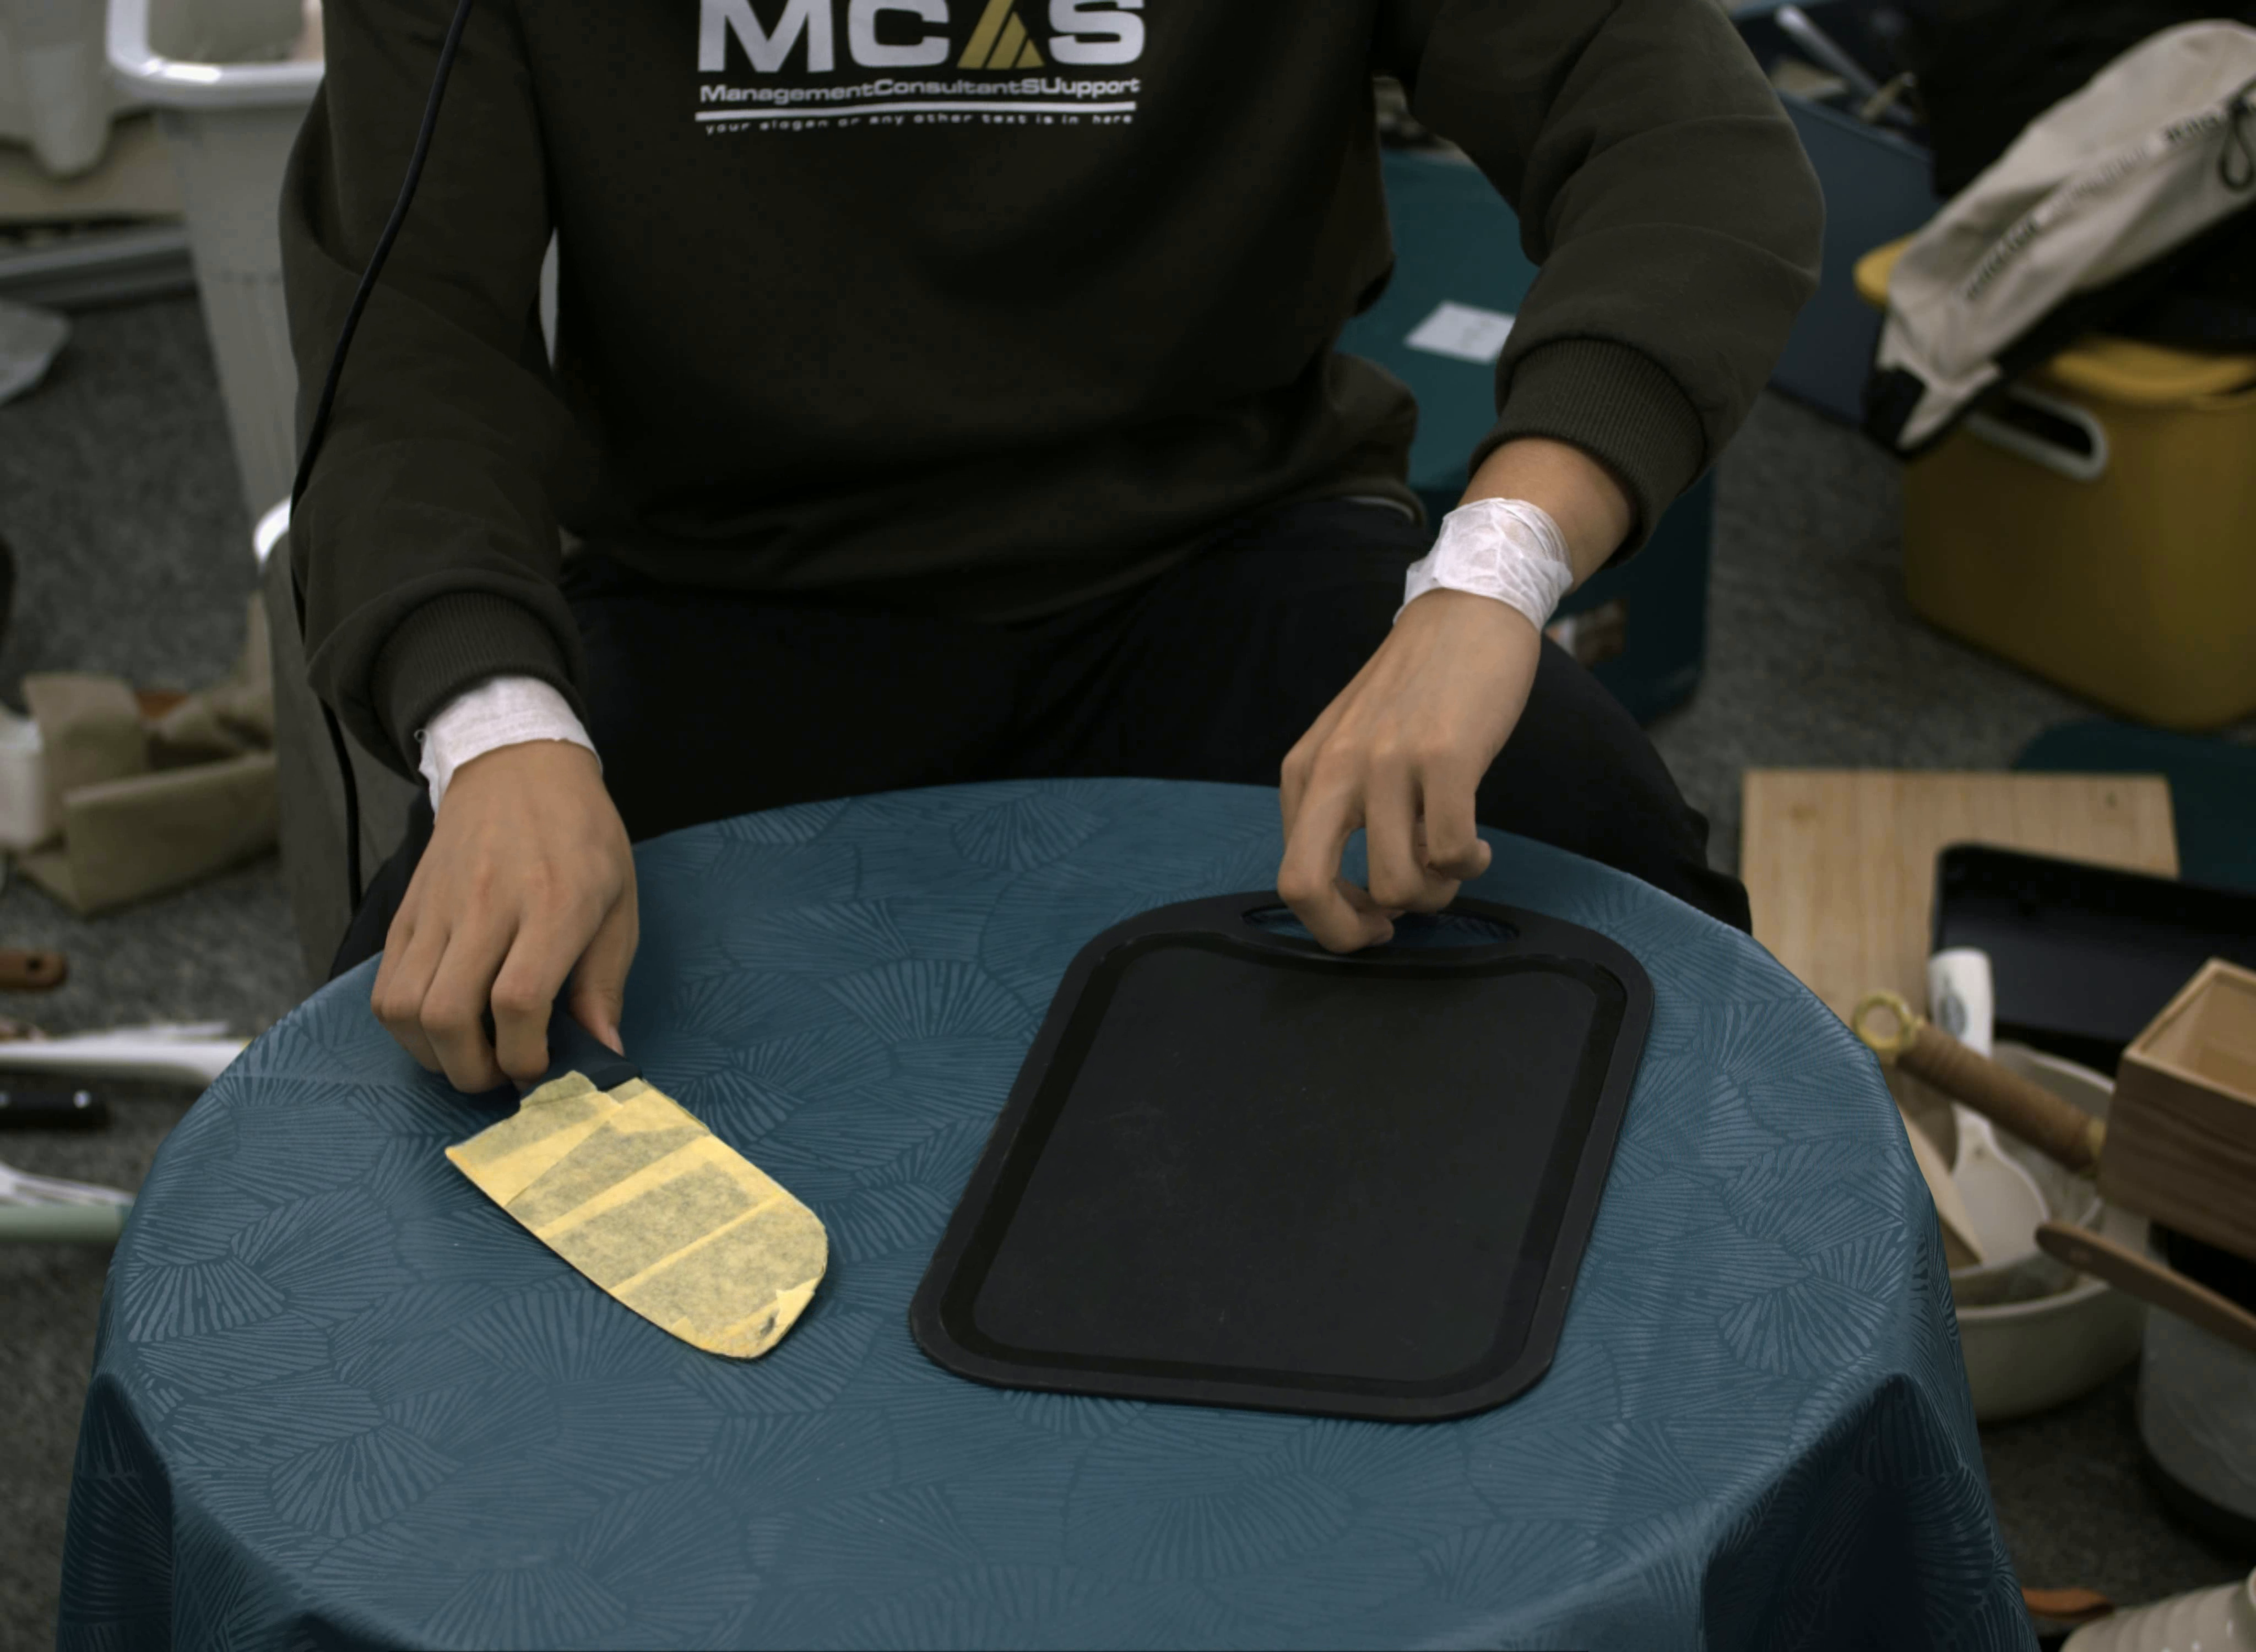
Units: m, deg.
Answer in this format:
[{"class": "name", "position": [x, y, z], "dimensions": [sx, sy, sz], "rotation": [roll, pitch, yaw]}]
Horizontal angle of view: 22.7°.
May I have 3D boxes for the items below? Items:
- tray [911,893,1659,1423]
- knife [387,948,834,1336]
[{"class": "tray", "position": [0.059, 0.101, 1.883], "dimensions": [0.209, 0.009, 0.331], "rotation": [4, 29, 13]}, {"class": "knife", "position": [-0.186, 0.107, 1.892], "dimensions": [0.081, 0.027, 0.290], "rotation": [-23, 33, -25]}]
